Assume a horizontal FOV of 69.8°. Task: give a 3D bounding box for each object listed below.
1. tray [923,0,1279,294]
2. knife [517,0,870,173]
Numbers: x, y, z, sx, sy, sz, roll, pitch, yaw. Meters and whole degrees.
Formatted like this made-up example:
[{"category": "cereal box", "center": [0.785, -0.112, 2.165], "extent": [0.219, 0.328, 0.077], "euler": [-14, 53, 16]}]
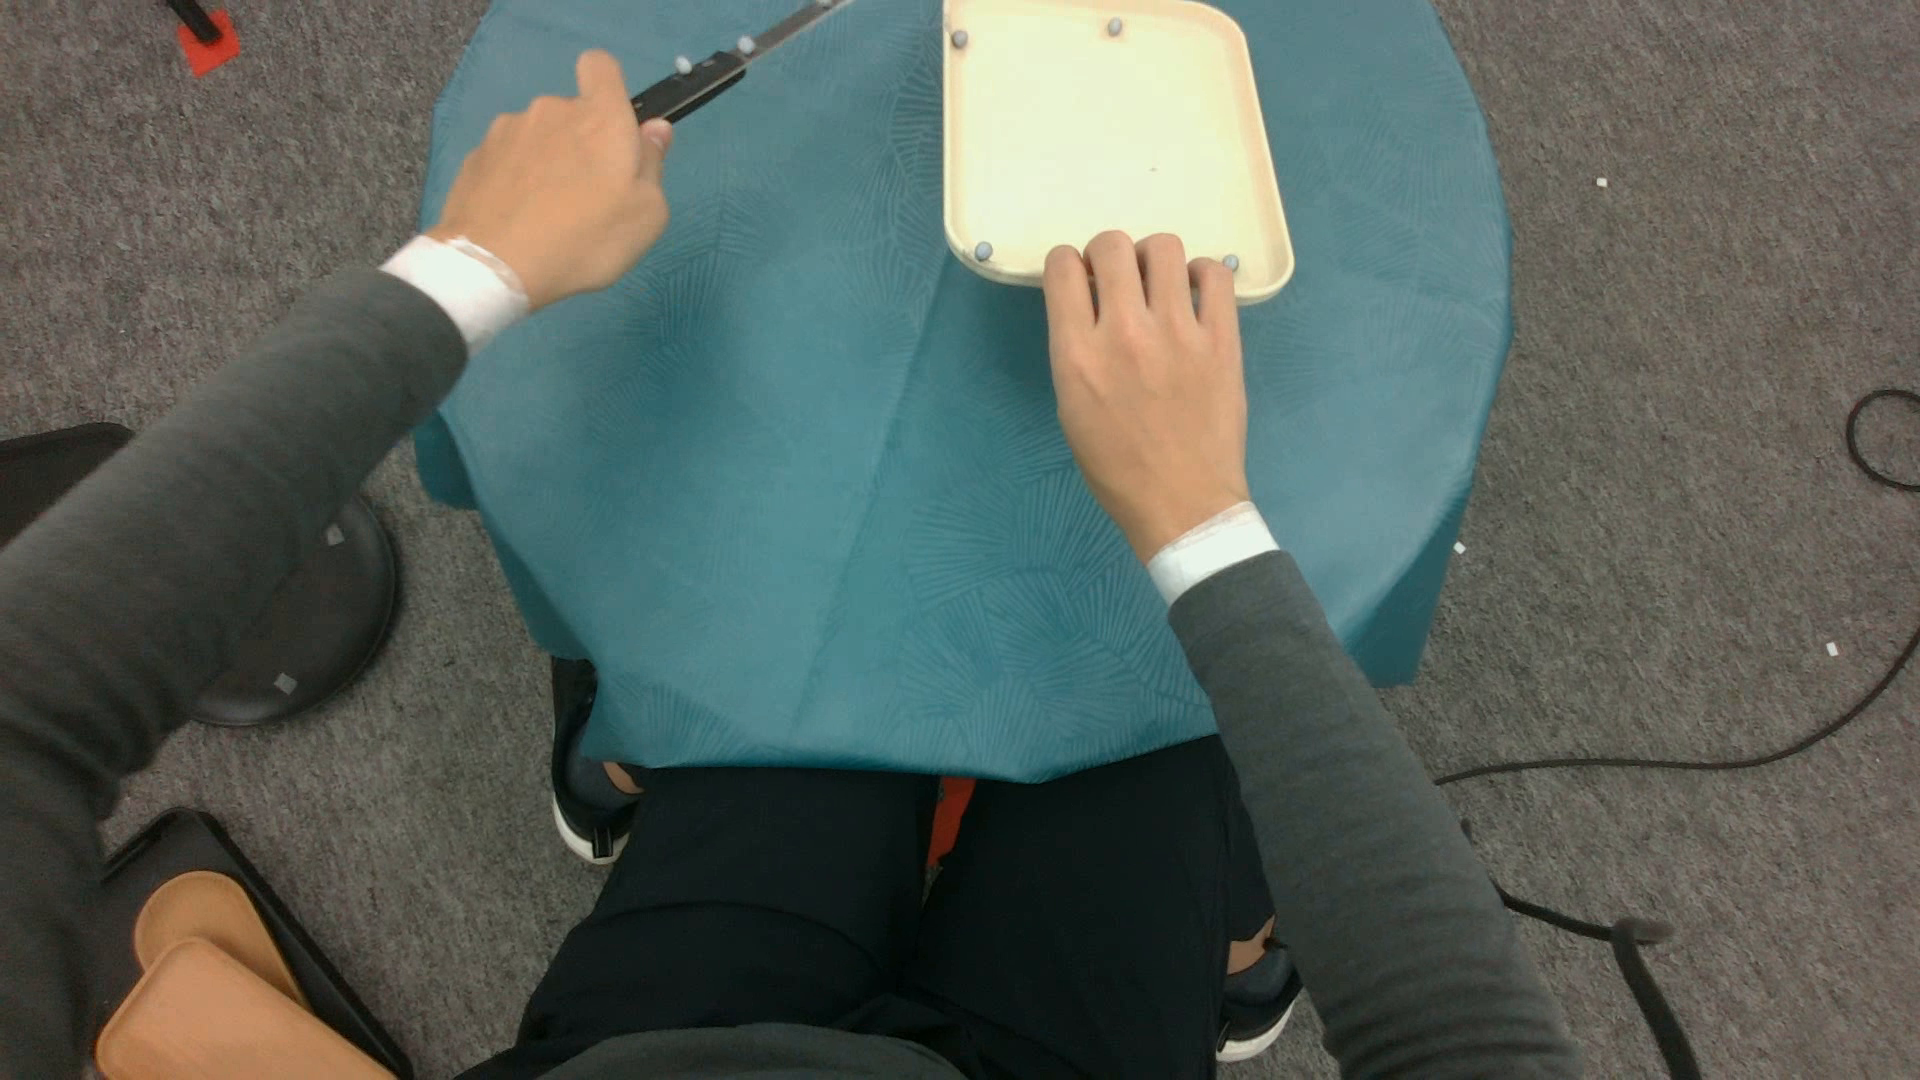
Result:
[{"category": "tray", "center": [0.065, -0.211, 0.708], "extent": [0.171, 0.017, 0.241], "euler": [4, 51, -7]}, {"category": "knife", "center": [-0.105, -0.234, 0.663], "extent": [0.239, 0.016, 0.024], "euler": [-35, 46, -20]}]
